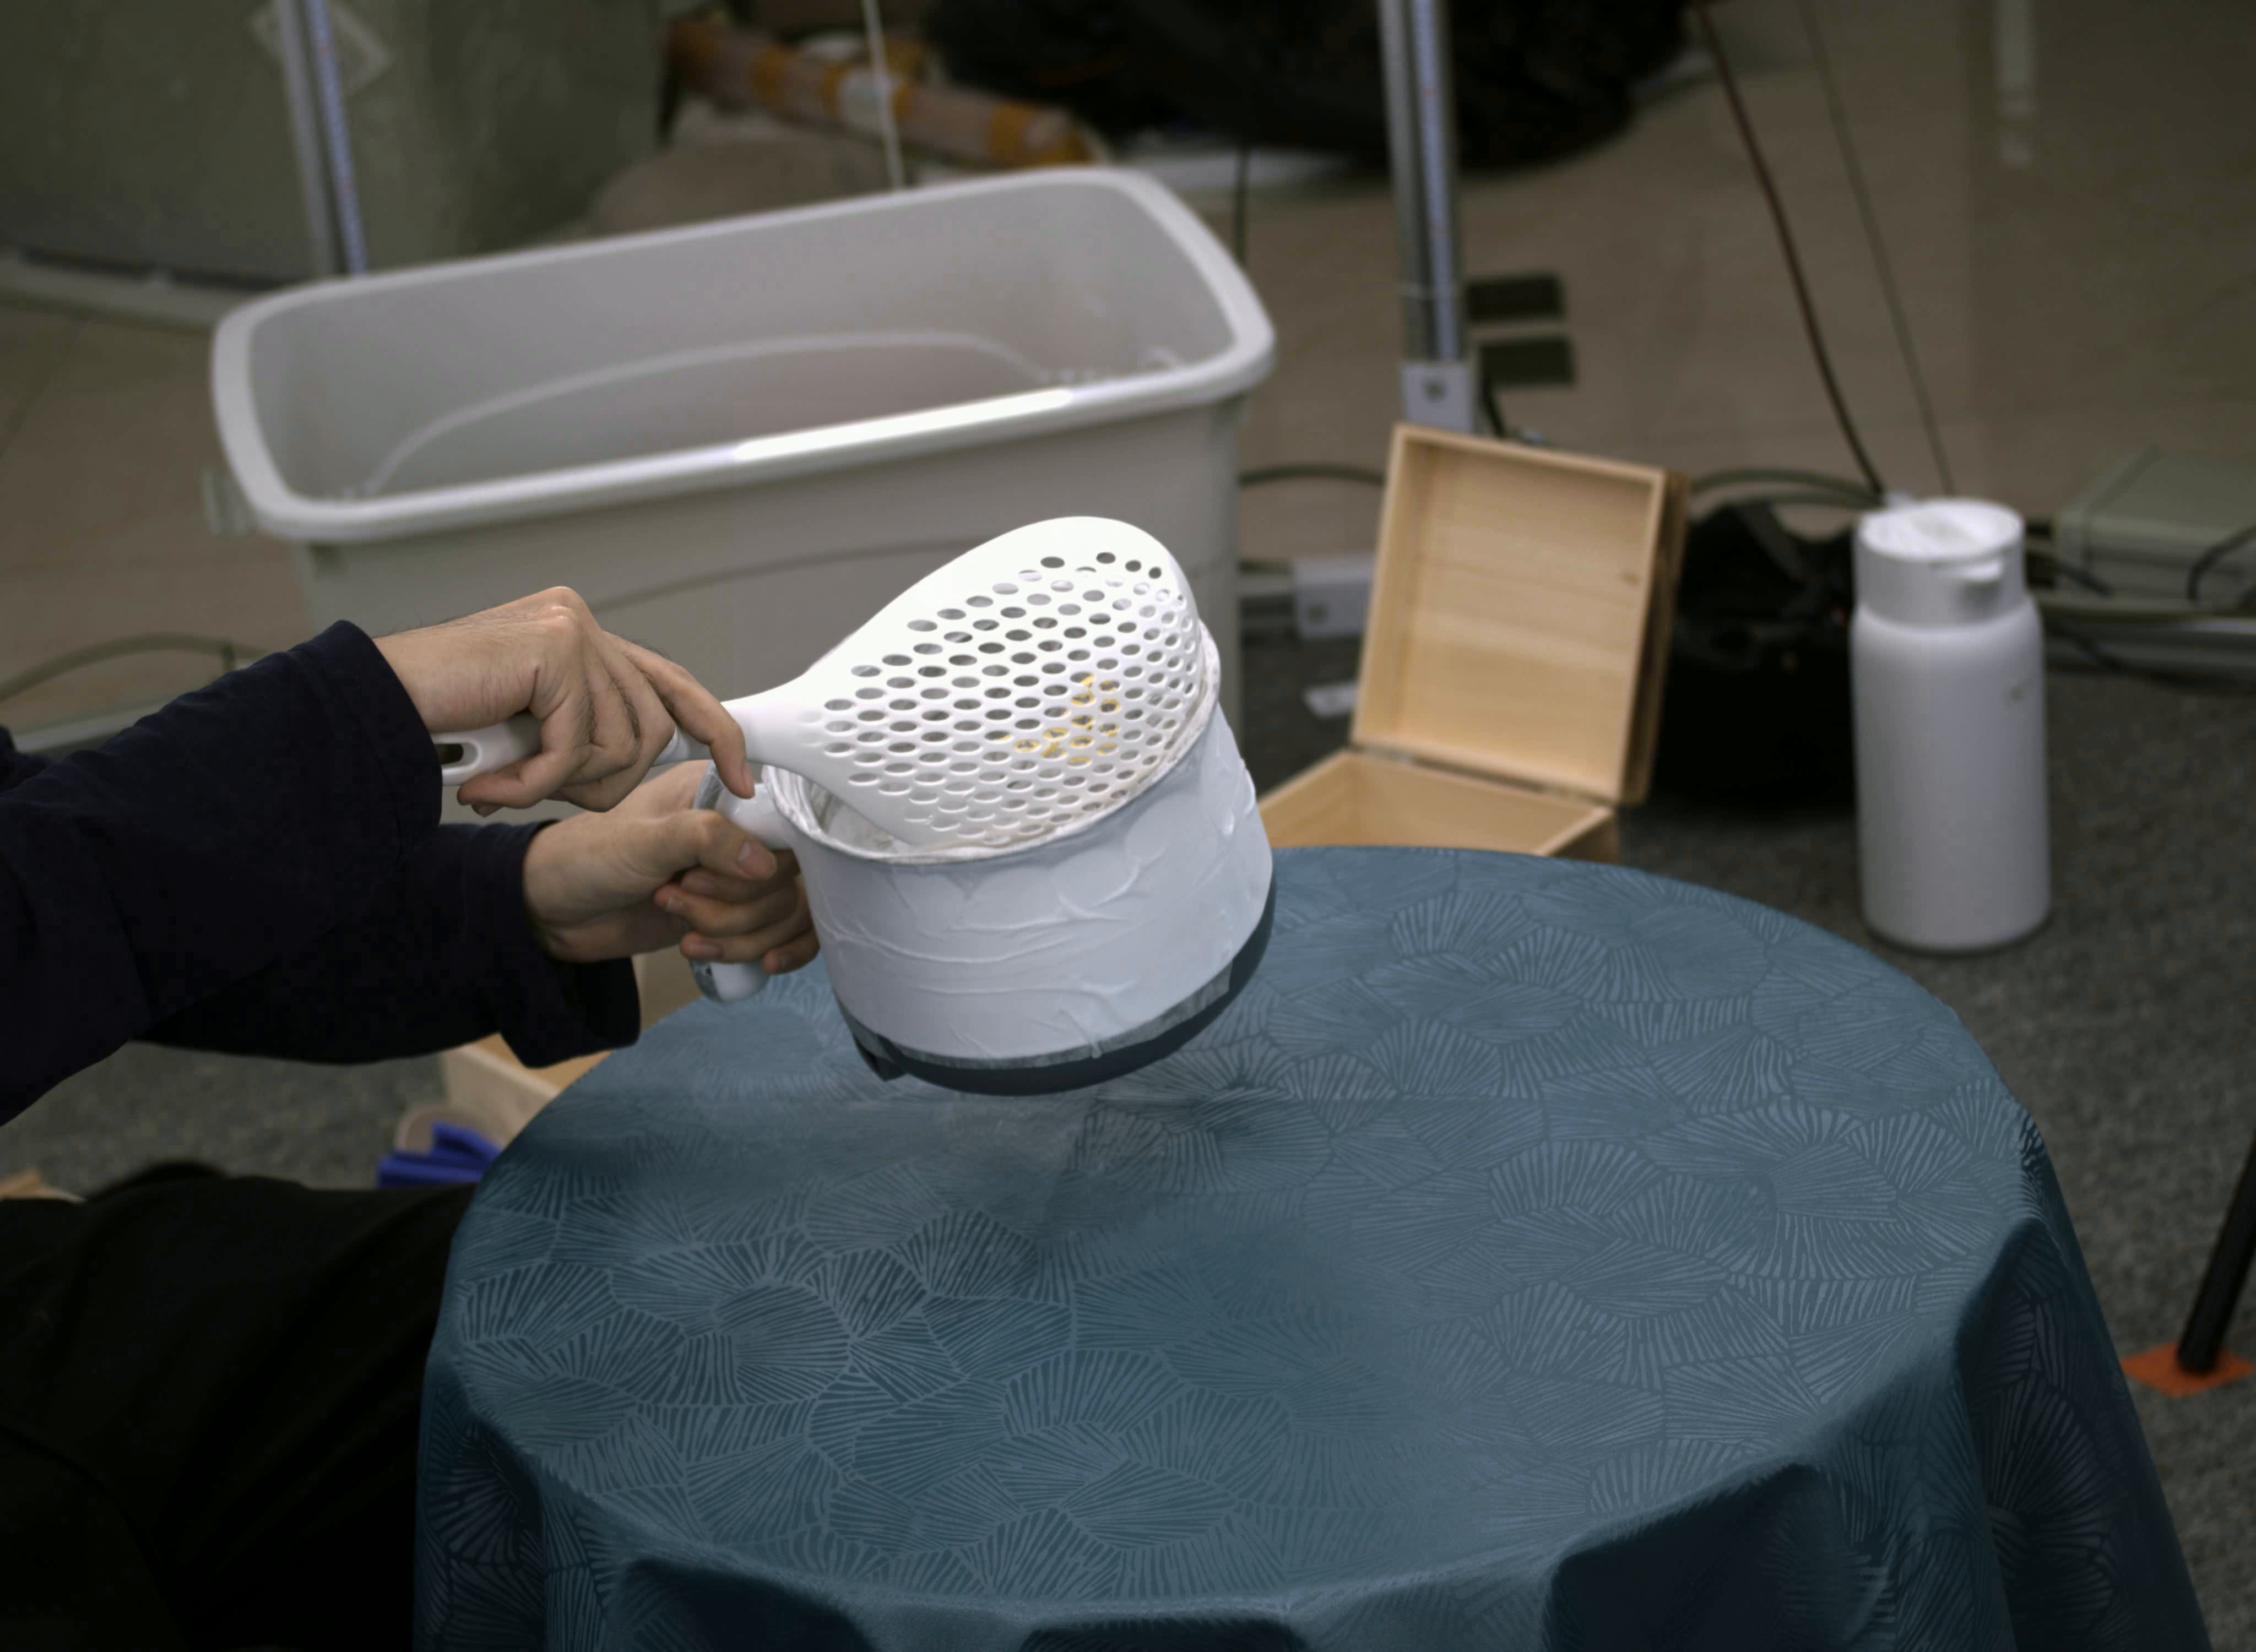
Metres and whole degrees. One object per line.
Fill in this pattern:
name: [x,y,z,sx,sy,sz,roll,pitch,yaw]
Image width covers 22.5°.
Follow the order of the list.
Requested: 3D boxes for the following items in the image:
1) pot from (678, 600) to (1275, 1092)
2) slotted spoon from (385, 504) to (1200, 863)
pot: [-0.064,0.009,2.162,0.233,0.139,0.175,-8,35,10]
slotted spoon: [-0.113,-0.039,2.011,0.347,0.138,0.050,-5,17,-30]
